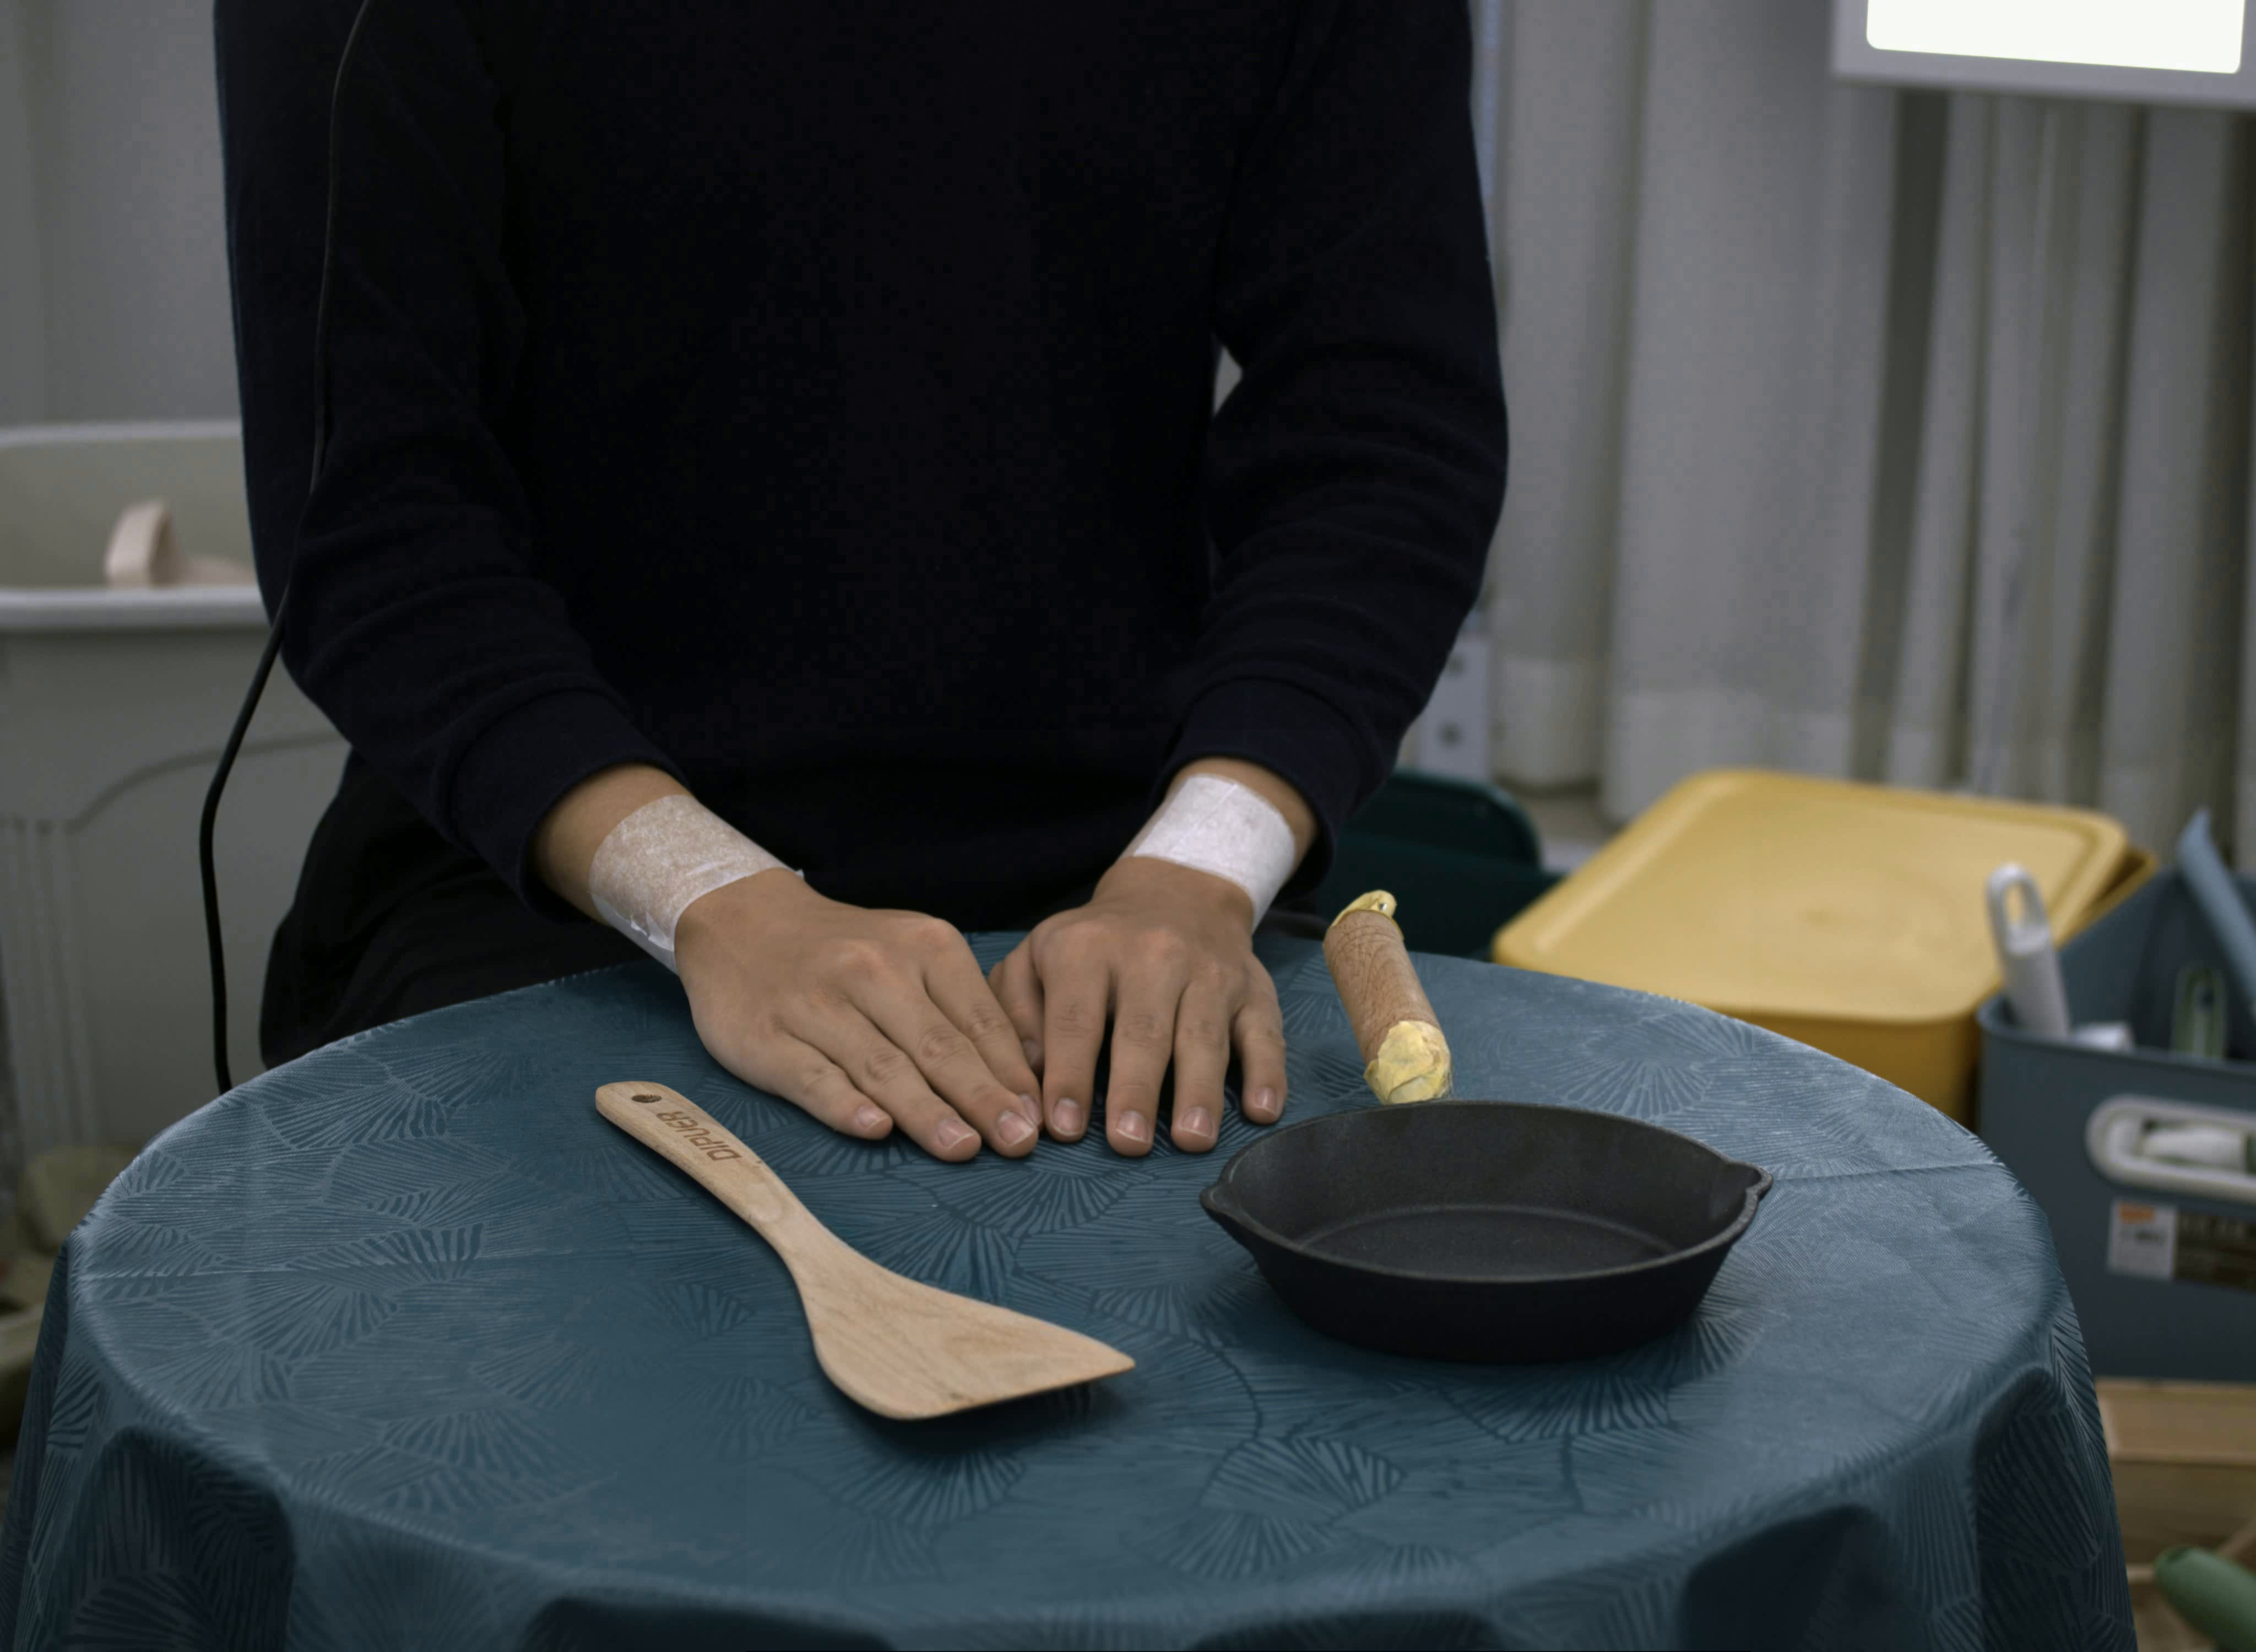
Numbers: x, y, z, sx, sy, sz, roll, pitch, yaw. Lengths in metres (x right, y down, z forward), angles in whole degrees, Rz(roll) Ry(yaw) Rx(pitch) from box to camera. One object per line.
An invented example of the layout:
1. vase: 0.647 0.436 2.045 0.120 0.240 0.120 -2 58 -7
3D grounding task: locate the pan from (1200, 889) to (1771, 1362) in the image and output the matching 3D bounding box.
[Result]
1. pan: 0.096 0.088 1.616 0.169 0.050 0.321 -1 17 -6

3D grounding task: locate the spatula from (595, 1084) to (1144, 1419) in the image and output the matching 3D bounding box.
1. spatula: -0.093 0.121 1.559 0.080 0.016 0.323 -6 17 -25
